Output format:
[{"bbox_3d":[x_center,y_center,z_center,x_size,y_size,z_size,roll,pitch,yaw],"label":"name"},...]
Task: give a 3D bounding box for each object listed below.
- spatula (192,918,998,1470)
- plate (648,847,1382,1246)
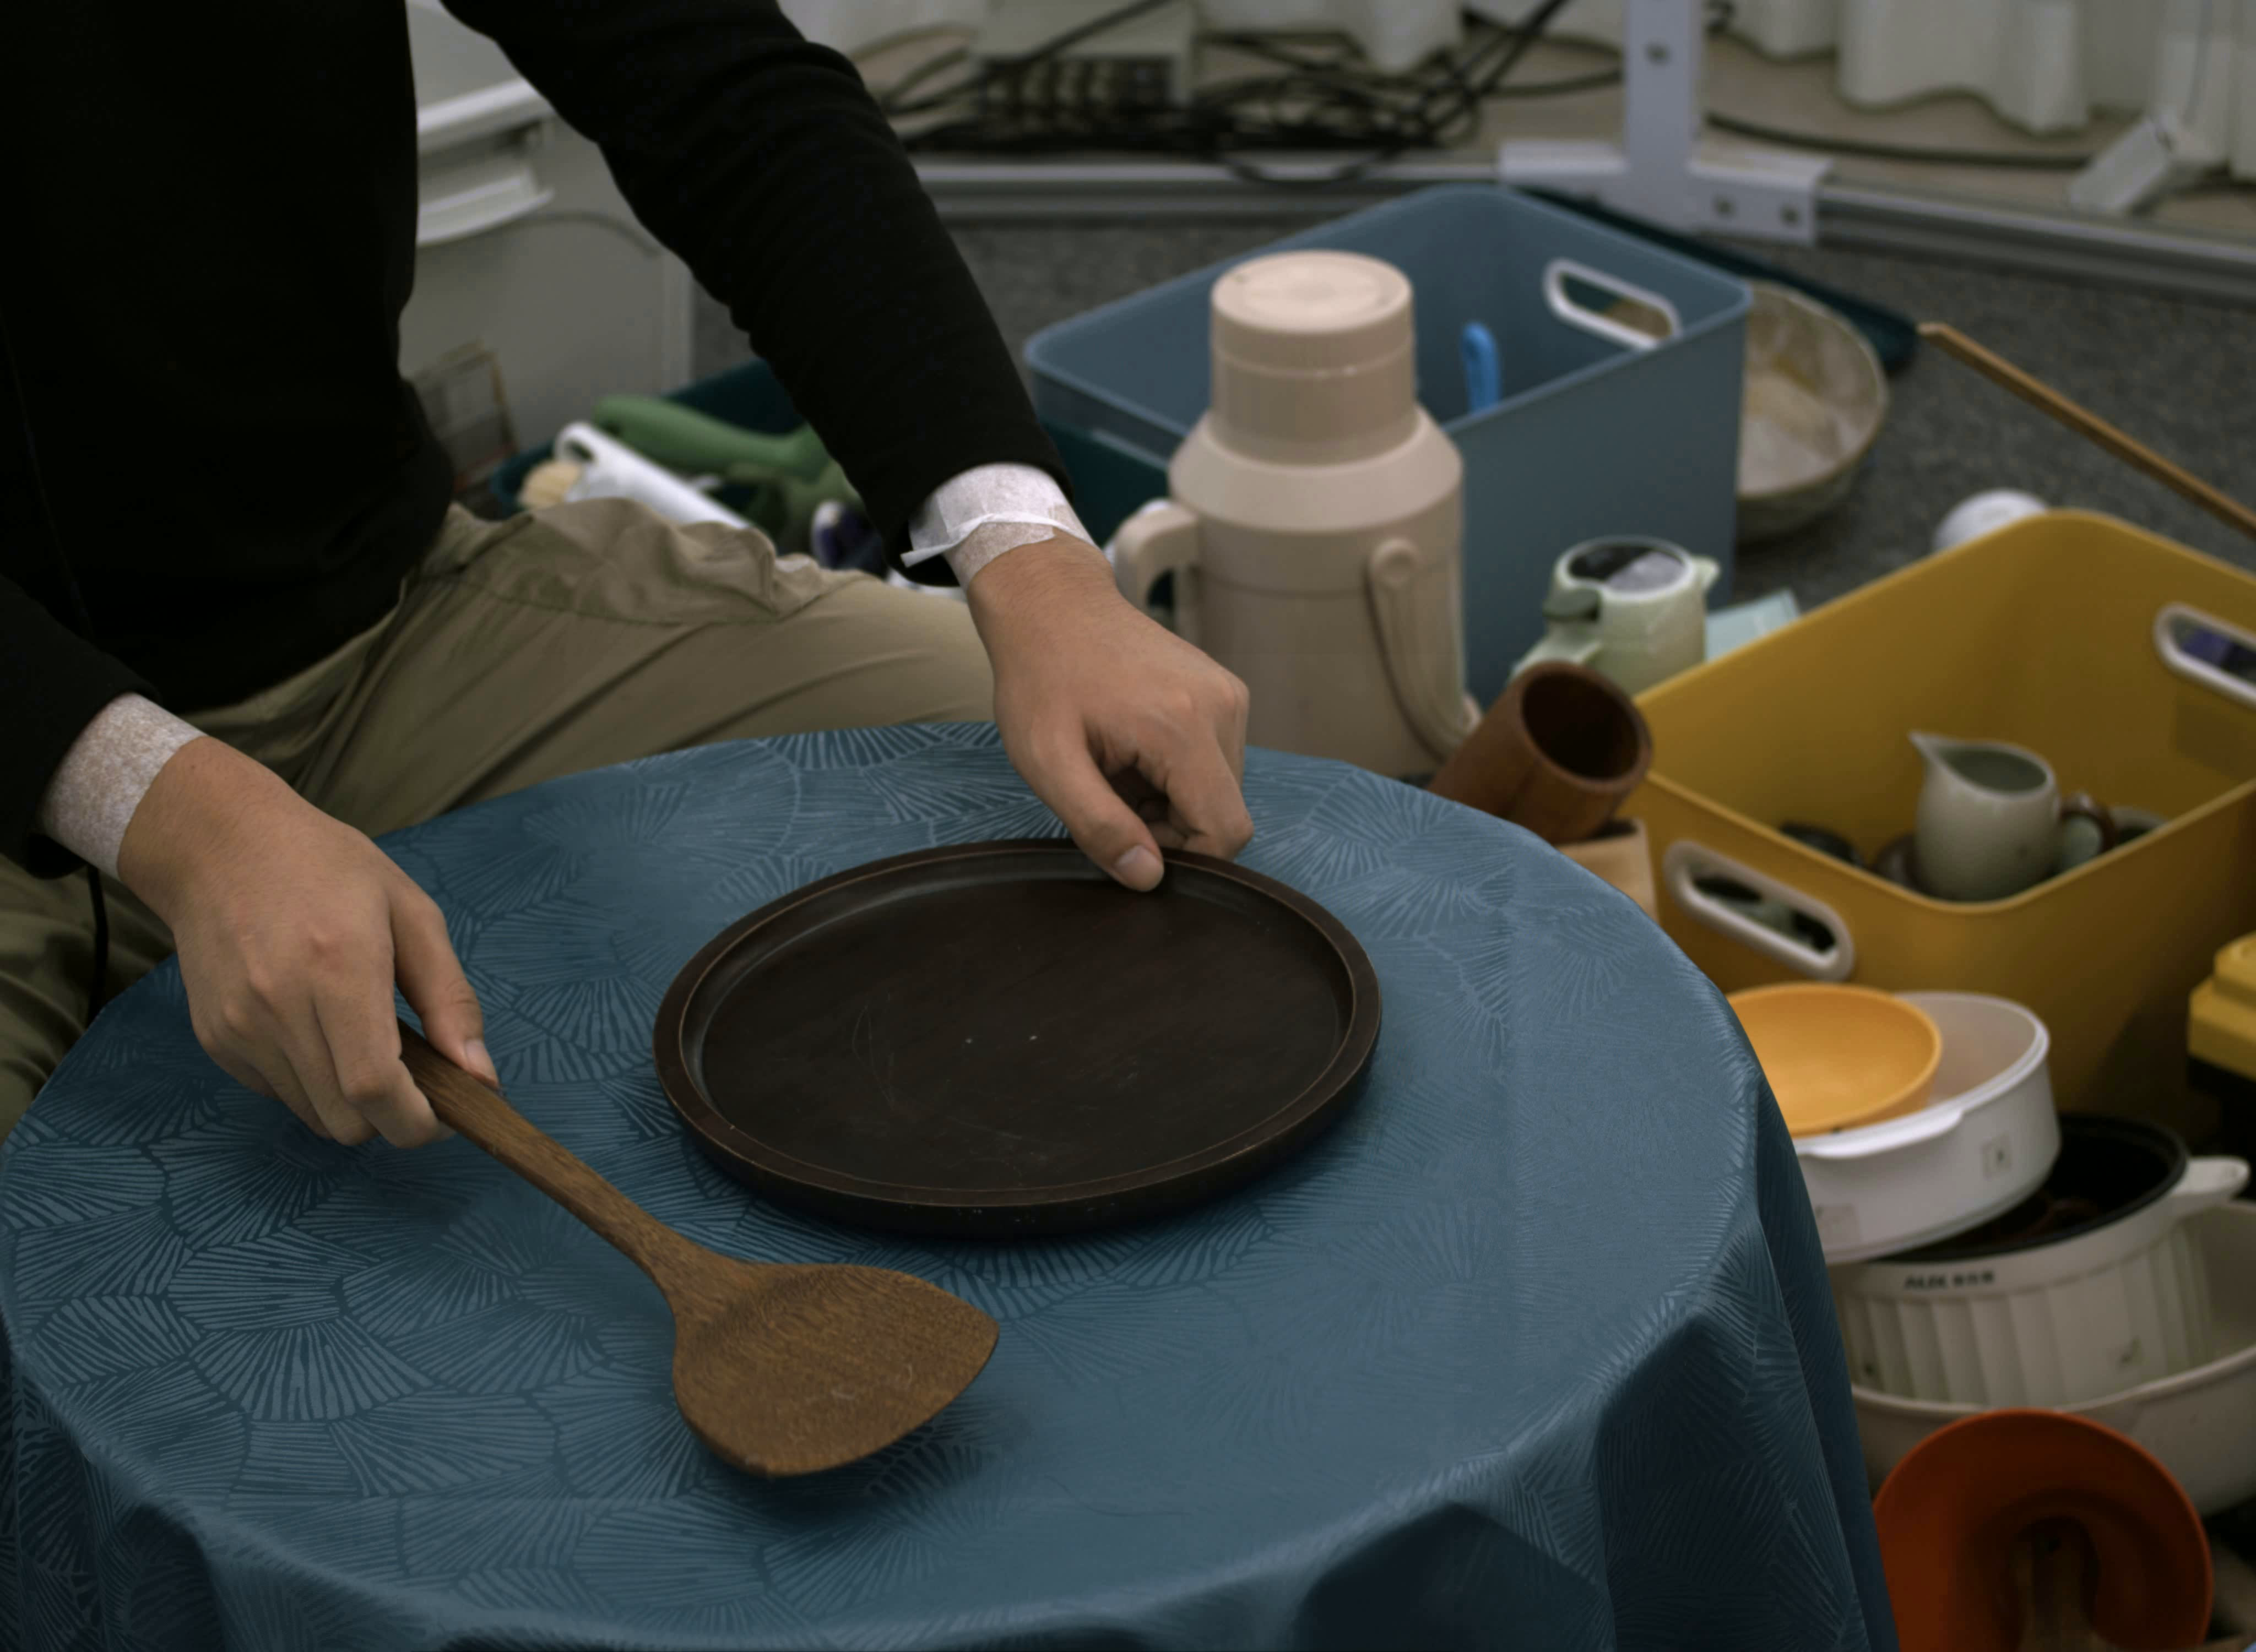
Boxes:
[{"bbox_3d":[-0.192,0.109,1.824,0.097,0.015,0.386,-30,42,-31],"label":"spatula"},{"bbox_3d":[-0.039,0.074,1.934,0.253,0.029,0.259,-1,29,1],"label":"plate"}]
